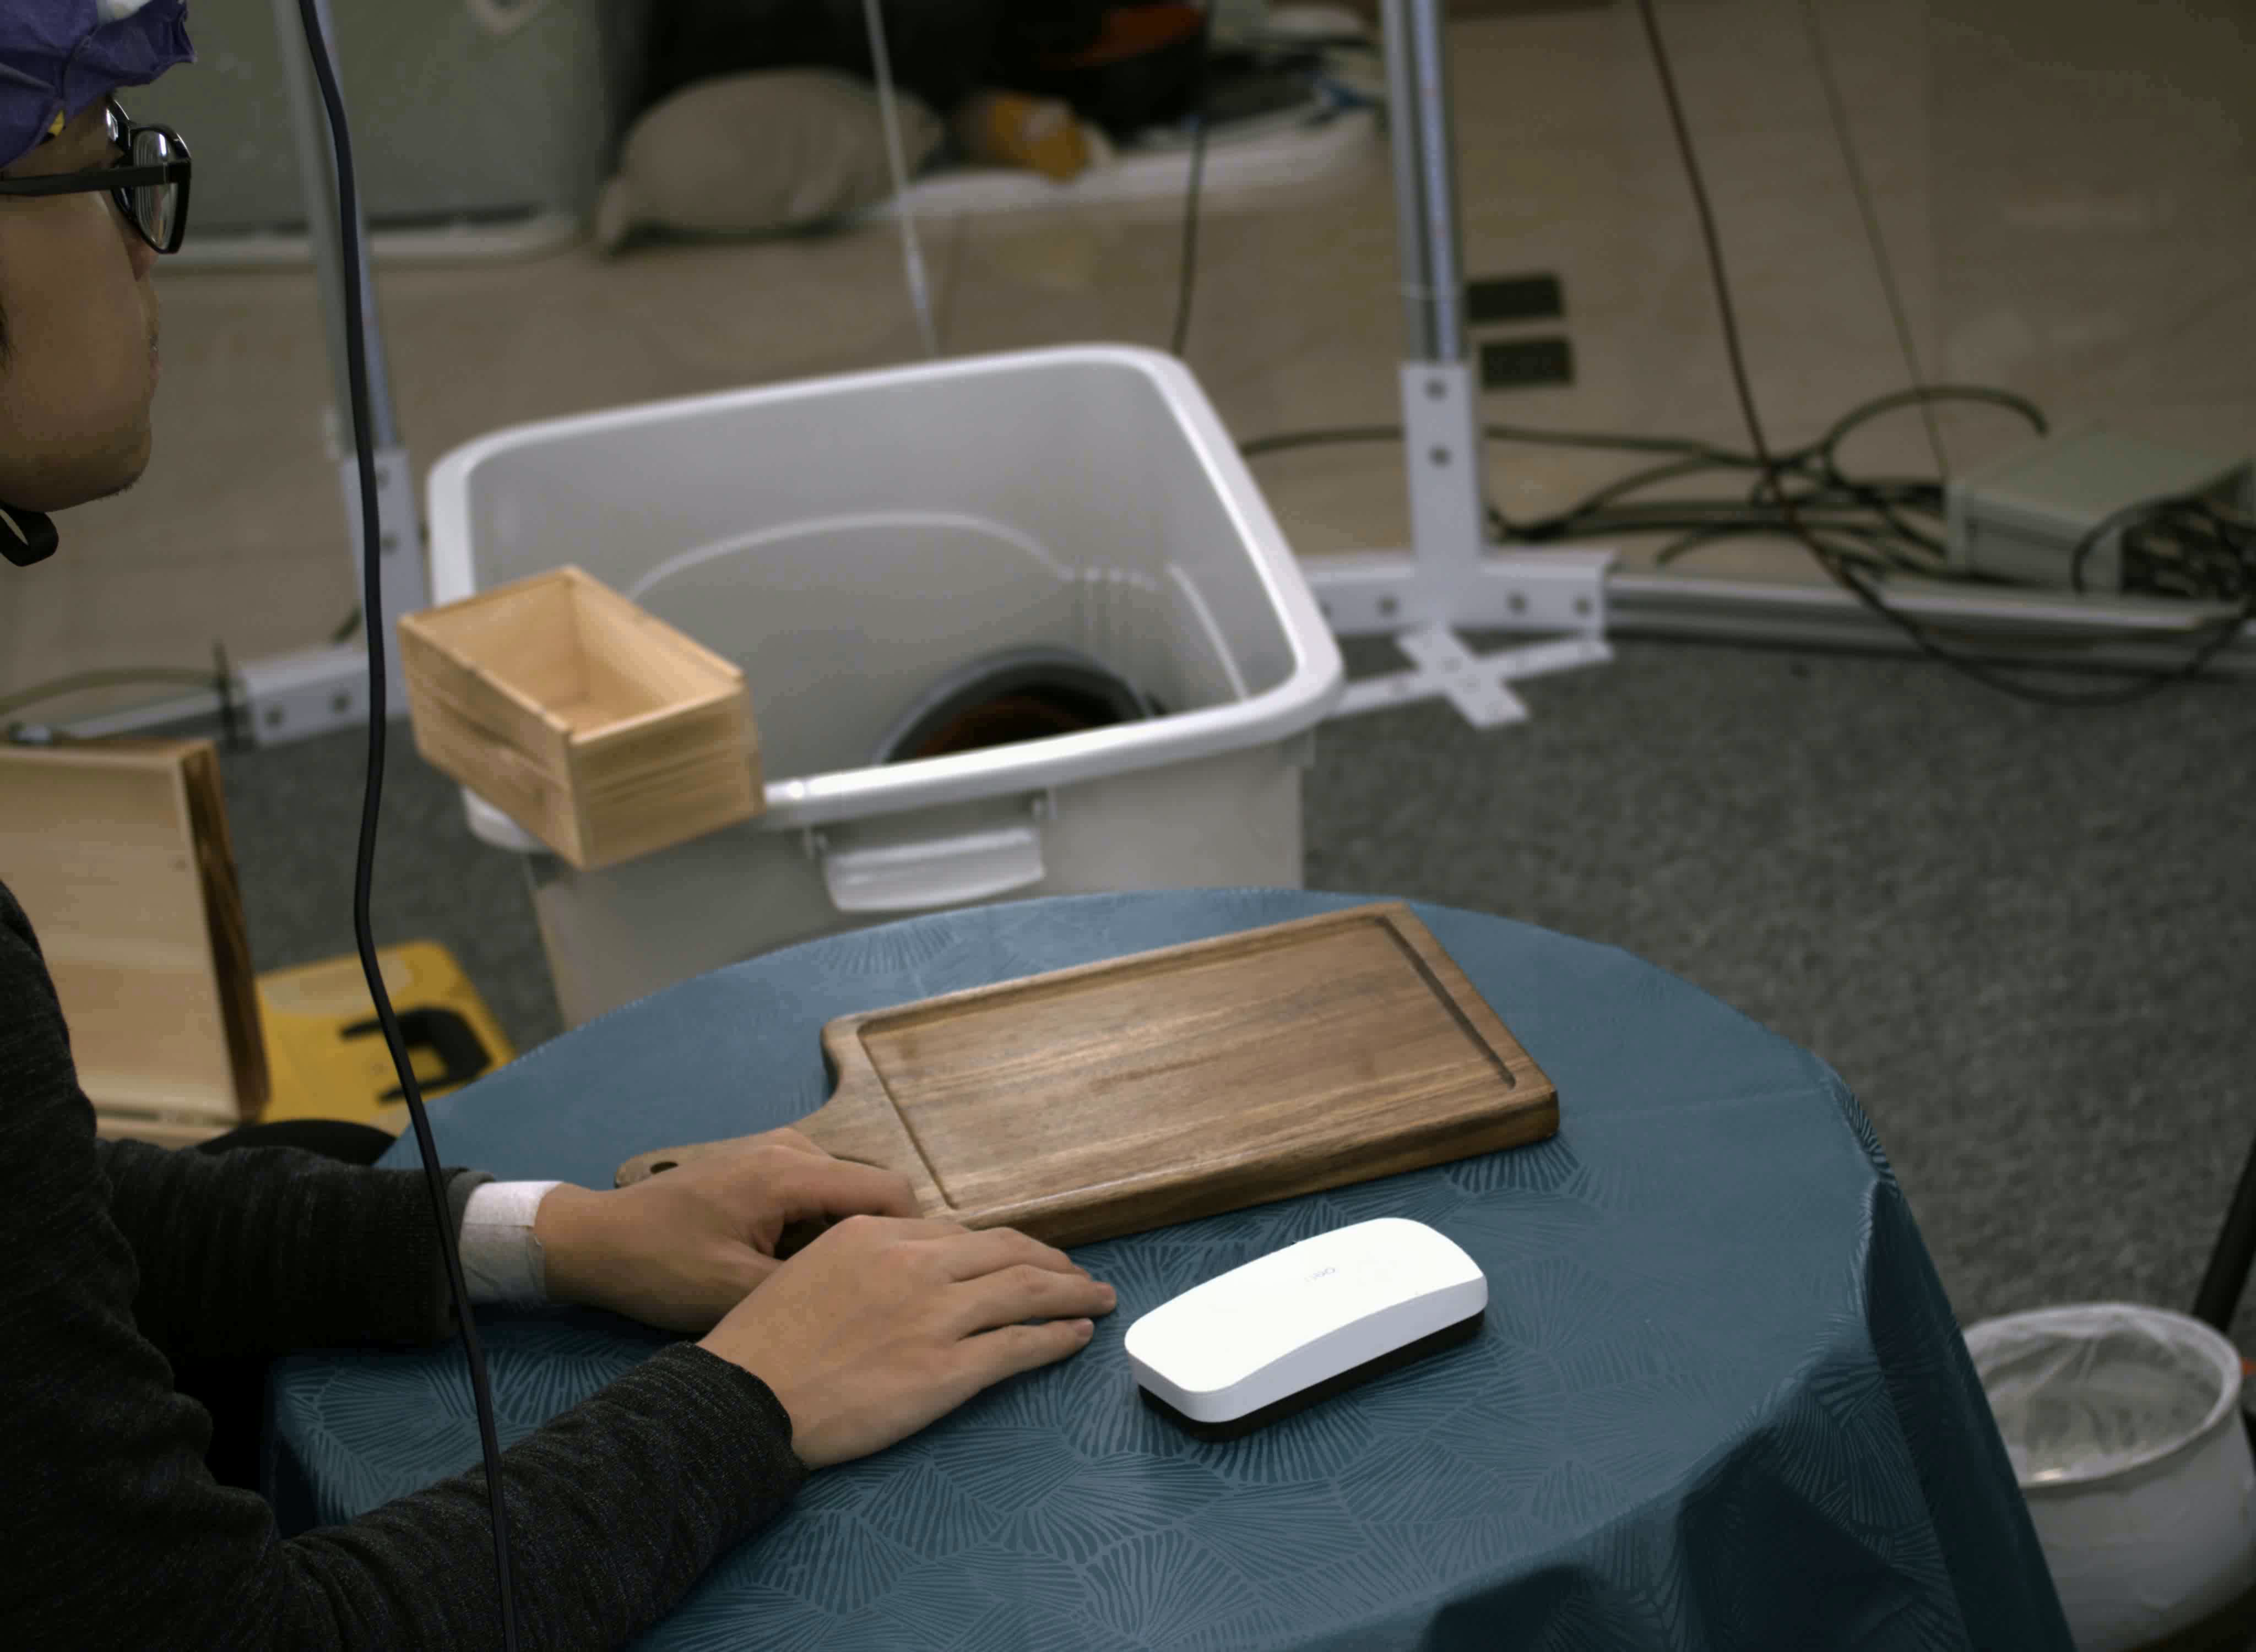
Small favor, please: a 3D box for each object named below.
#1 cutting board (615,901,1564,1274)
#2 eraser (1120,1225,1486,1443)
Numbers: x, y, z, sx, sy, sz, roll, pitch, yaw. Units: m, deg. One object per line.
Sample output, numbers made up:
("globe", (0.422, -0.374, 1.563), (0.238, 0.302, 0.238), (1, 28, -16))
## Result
("cutting board", (-0.027, 0.108, 2.197), (0.351, 0.023, 0.198), (-12, 25, -12))
("eraser", (0.062, 0.177, 2.015), (0.130, 0.035, 0.063), (-19, 29, -27))
